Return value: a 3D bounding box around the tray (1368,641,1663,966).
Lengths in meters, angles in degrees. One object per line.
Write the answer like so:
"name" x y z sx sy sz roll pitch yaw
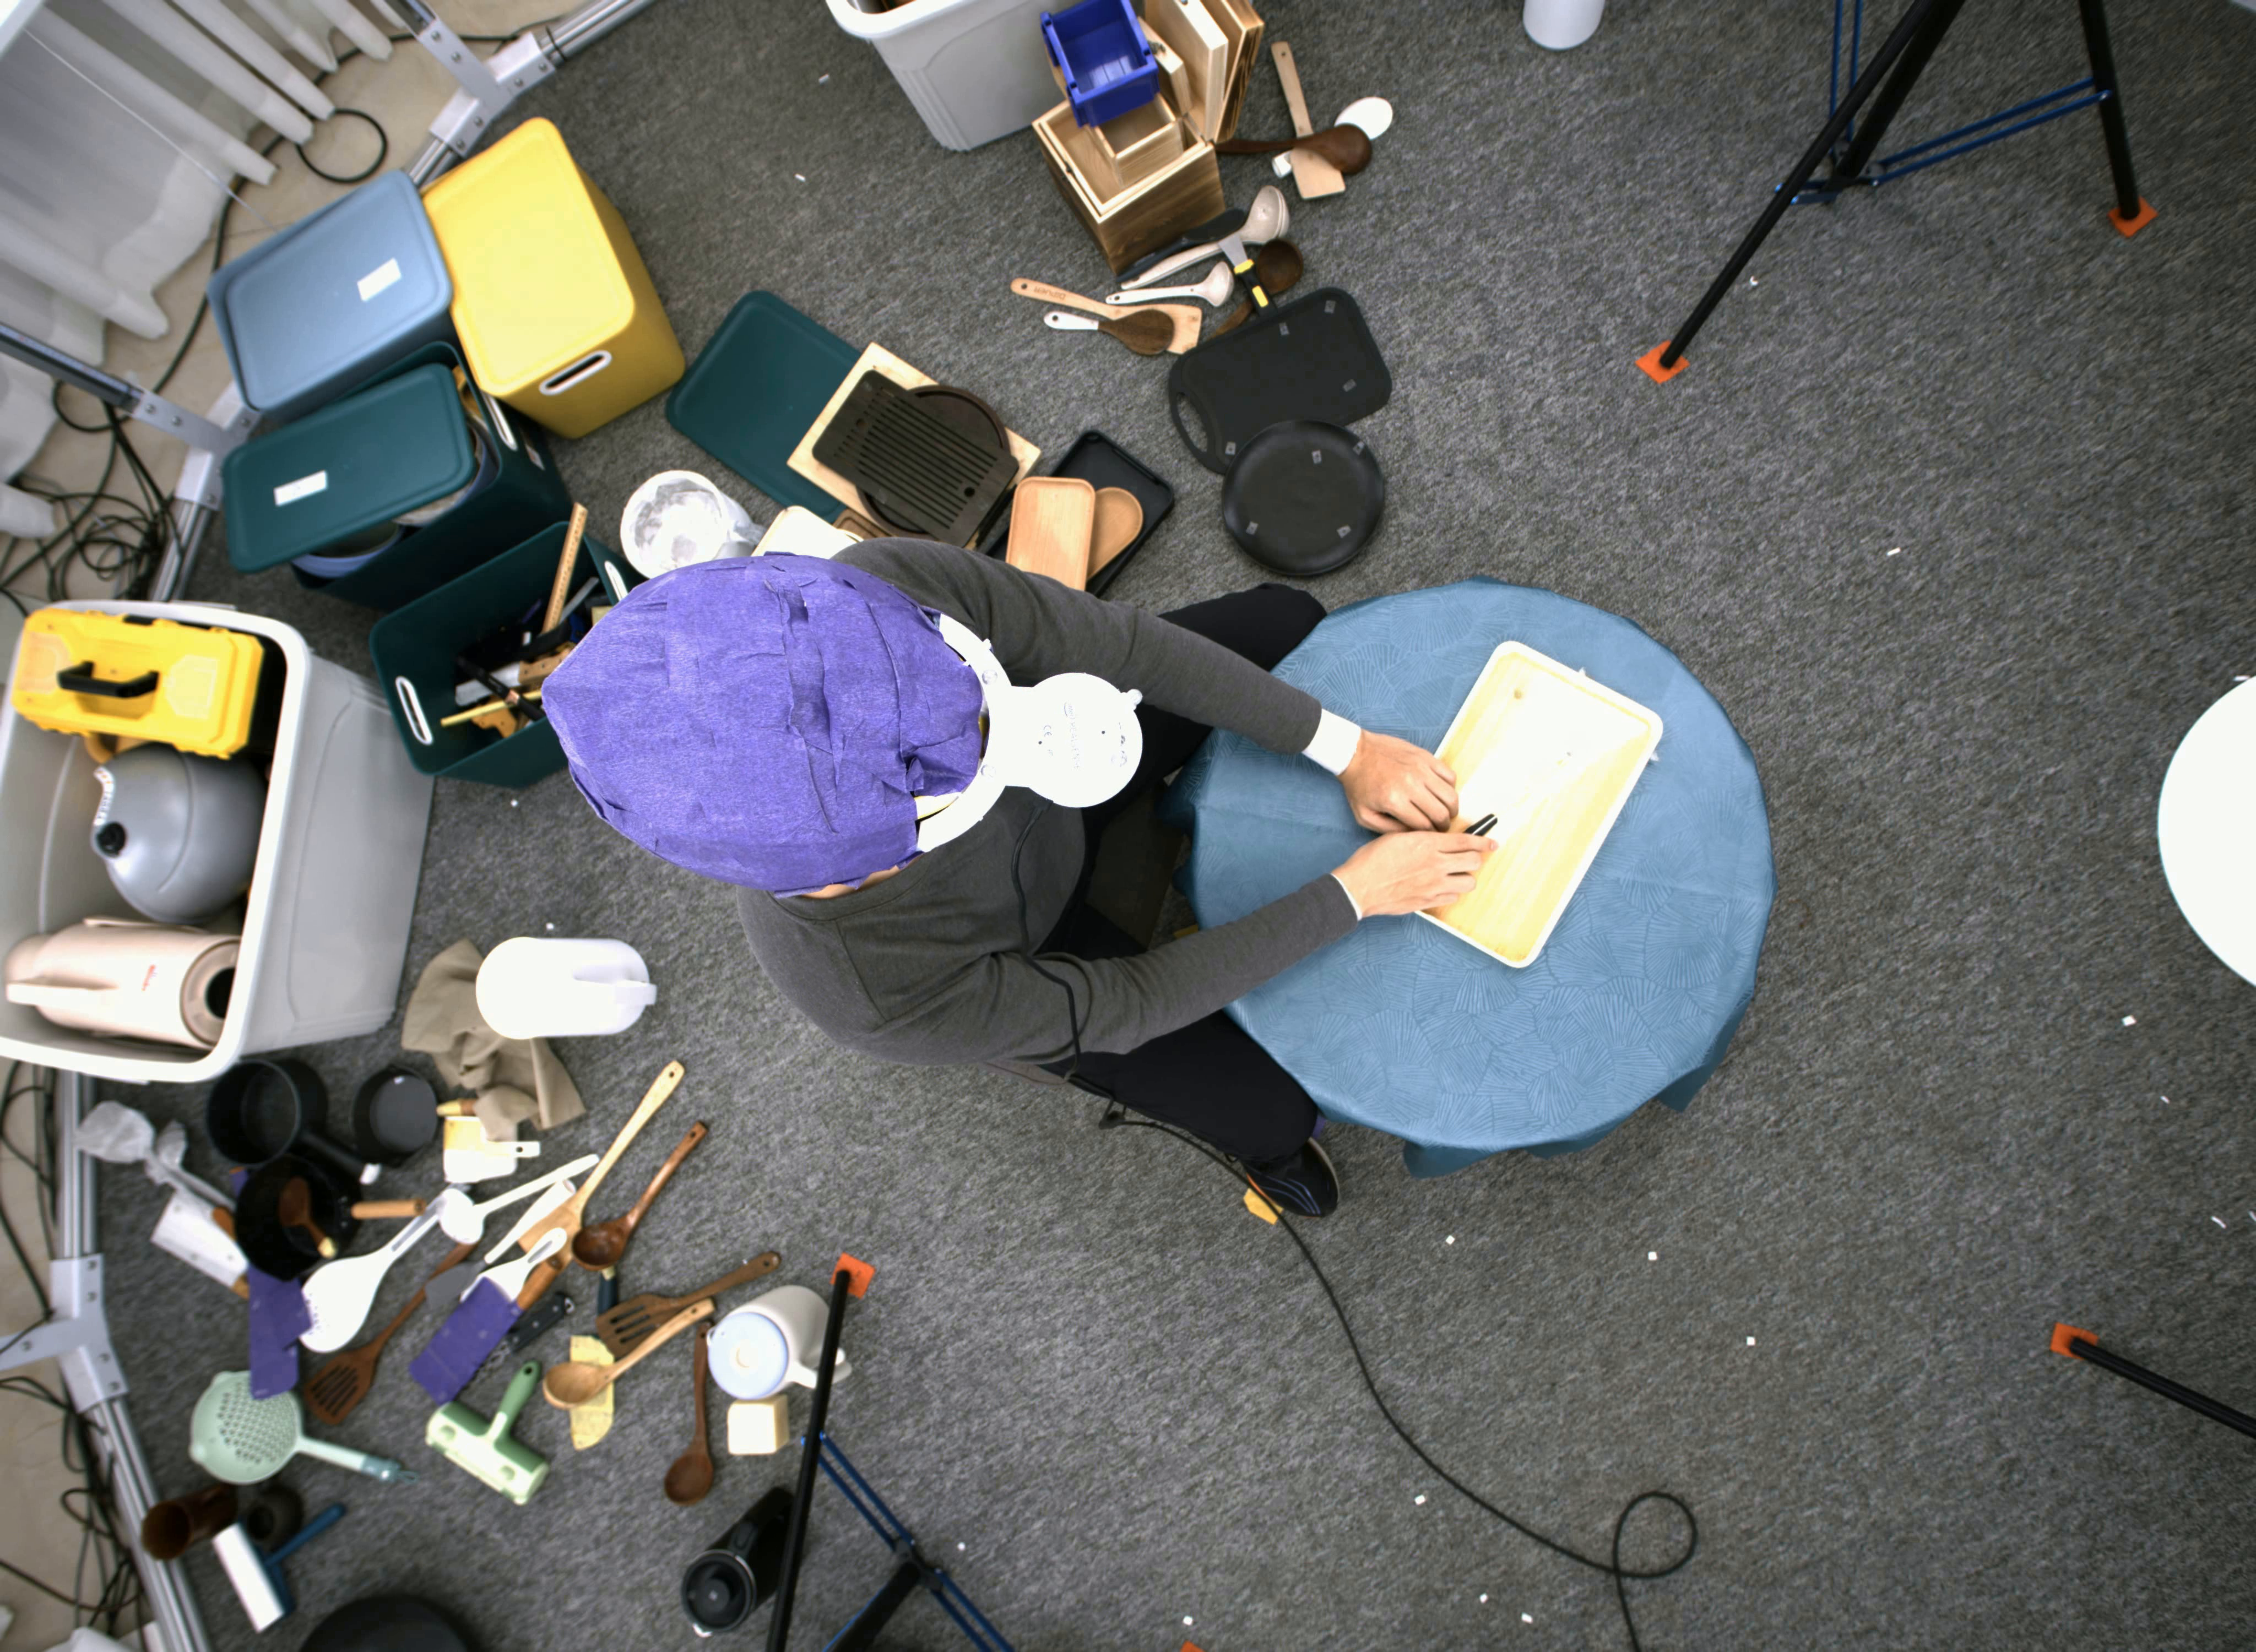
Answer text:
"tray" 0.401 -0.026 1.428 0.191 0.027 0.301 31 93 12

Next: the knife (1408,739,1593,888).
"knife" 0.382 -0.017 1.403 0.239 0.024 0.016 -39 76 7
